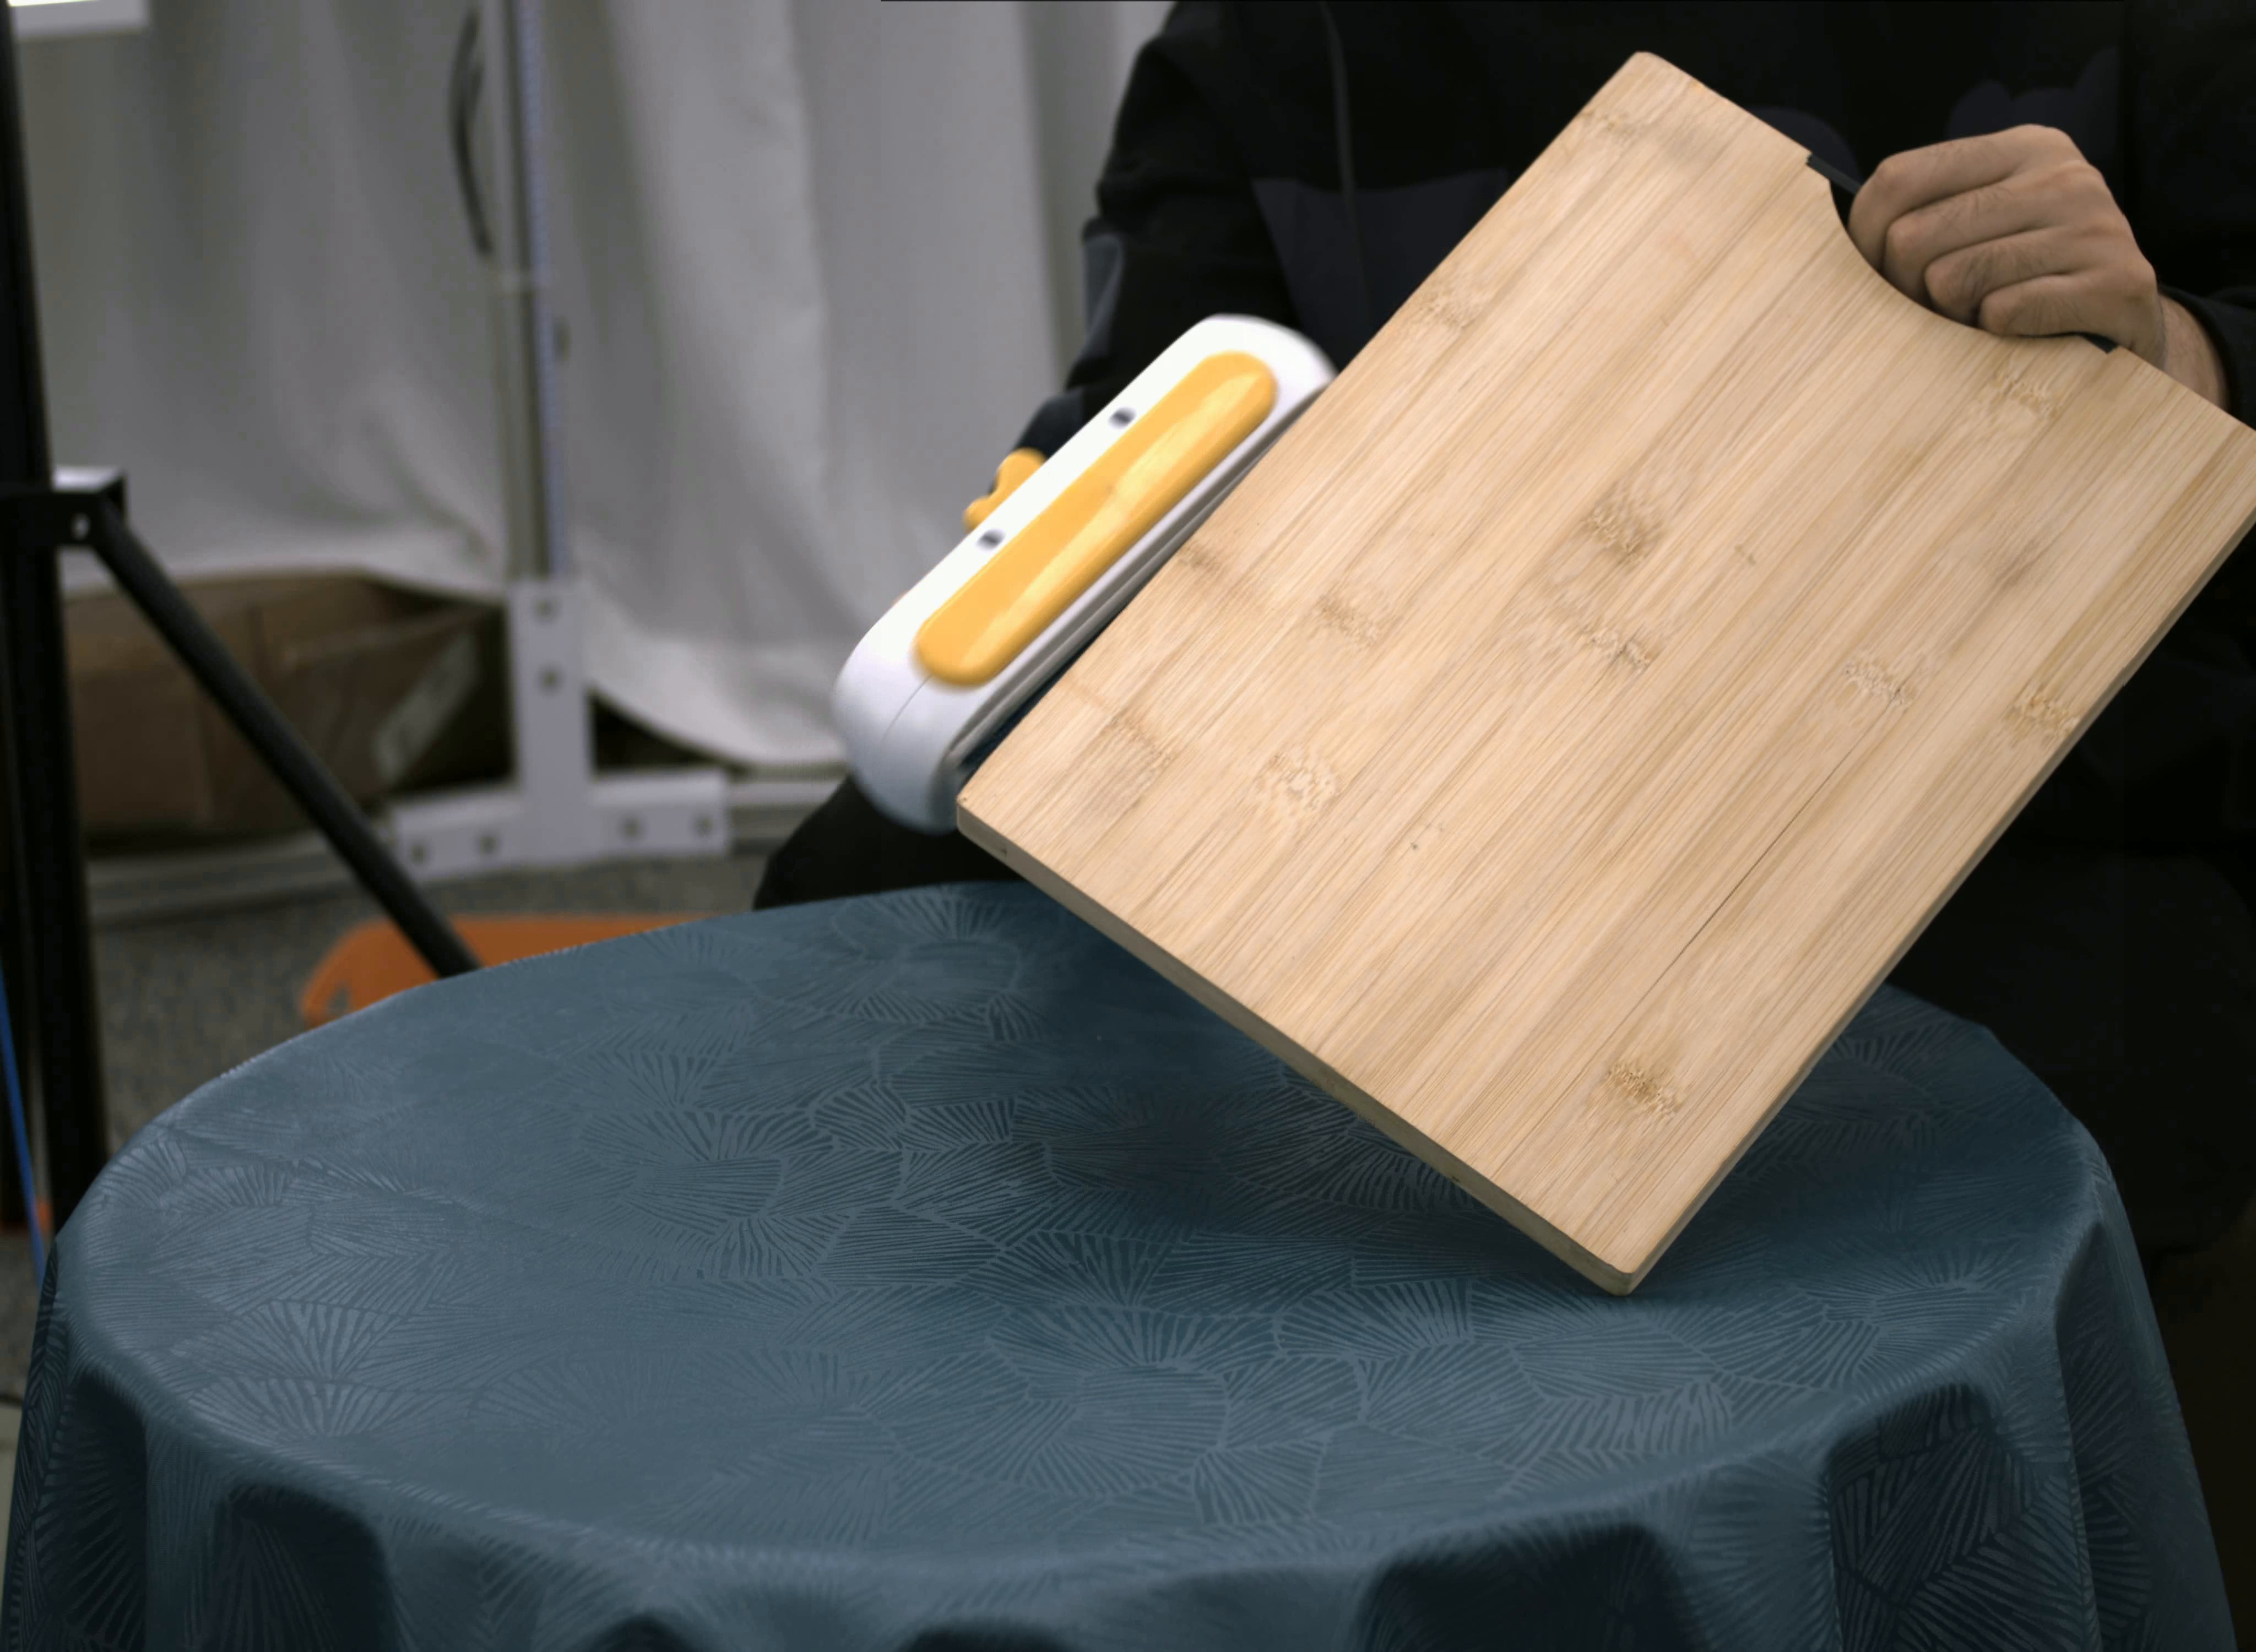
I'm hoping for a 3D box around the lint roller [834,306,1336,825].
[{"bbox_3d":[-0.024,-0.058,1.644,0.075,0.192,0.191,37,66,10],"label":"lint roller"}]

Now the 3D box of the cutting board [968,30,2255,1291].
[{"bbox_3d":[0.152,-0.058,1.550,0.254,0.023,0.346,34,67,18],"label":"cutting board"}]
